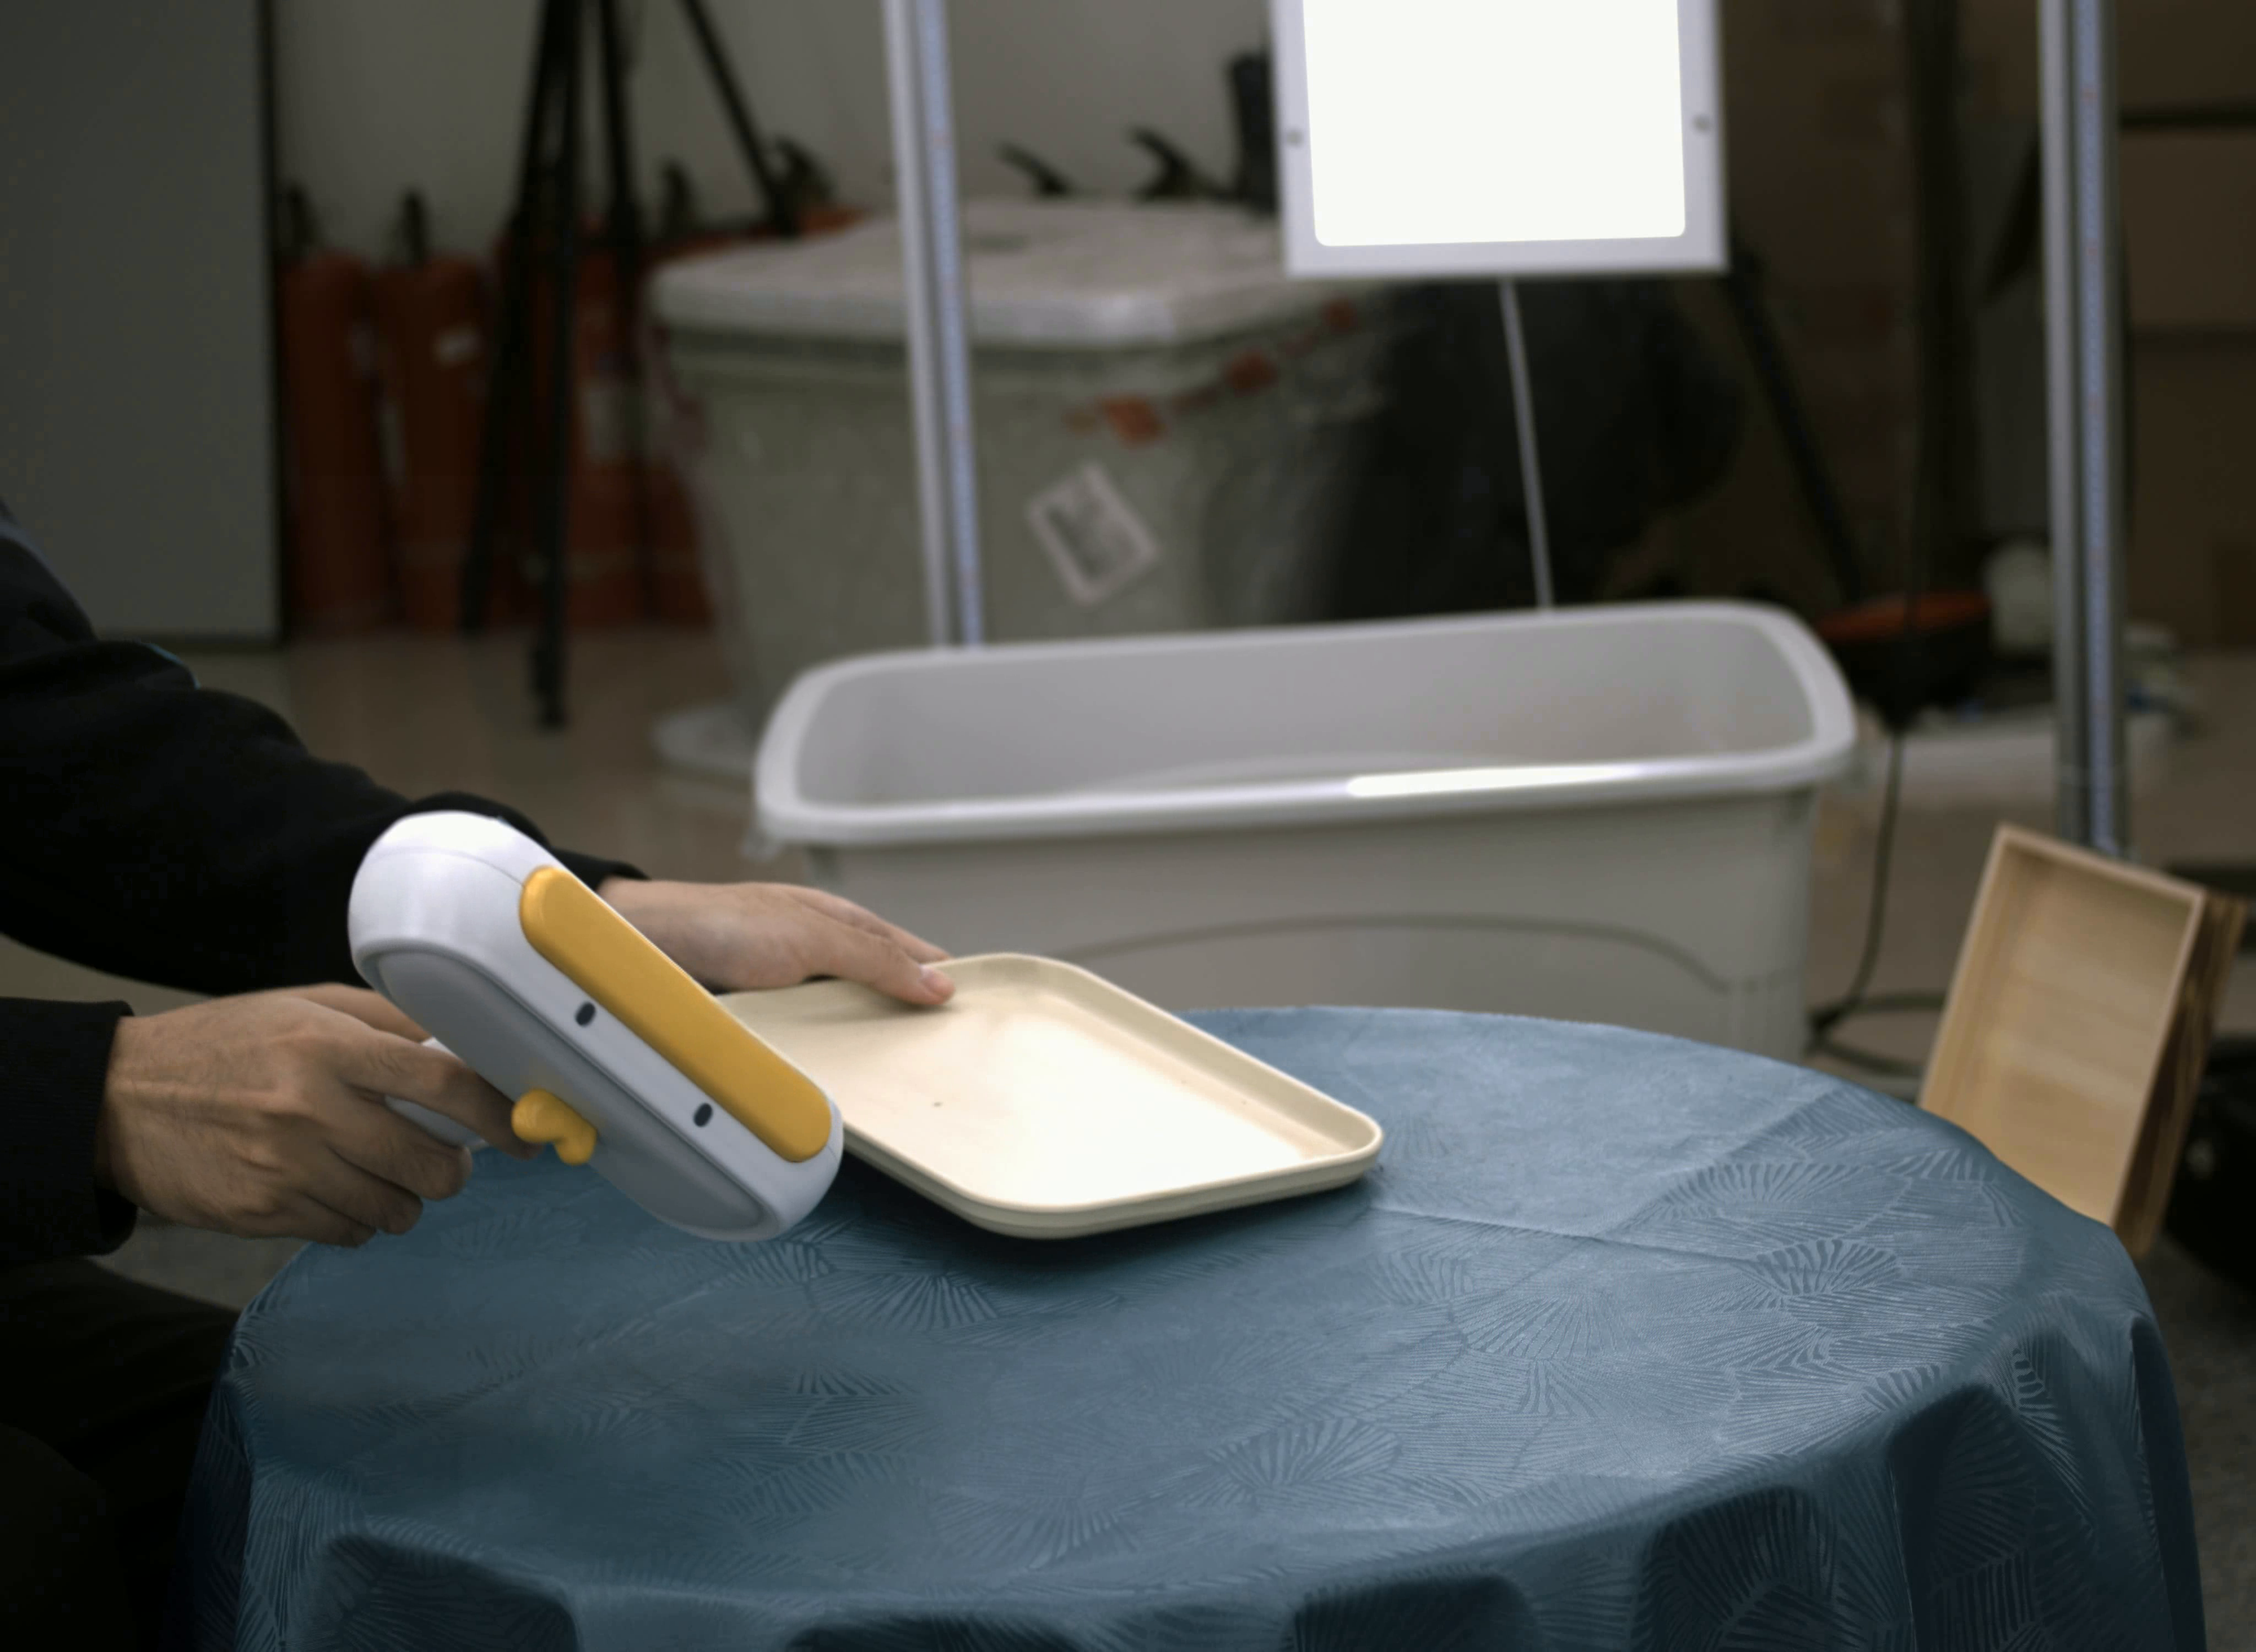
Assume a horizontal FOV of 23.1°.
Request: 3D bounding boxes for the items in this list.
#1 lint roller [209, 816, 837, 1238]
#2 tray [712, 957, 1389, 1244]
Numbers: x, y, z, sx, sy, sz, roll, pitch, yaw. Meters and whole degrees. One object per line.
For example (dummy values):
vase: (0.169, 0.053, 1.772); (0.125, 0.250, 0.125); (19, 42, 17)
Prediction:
lint roller: (-0.212, 0.081, 1.730); (0.197, 0.074, 0.189); (-17, -40, 39)
tray: (-0.035, 0.095, 1.933); (0.167, 0.017, 0.244); (-9, 20, -32)
